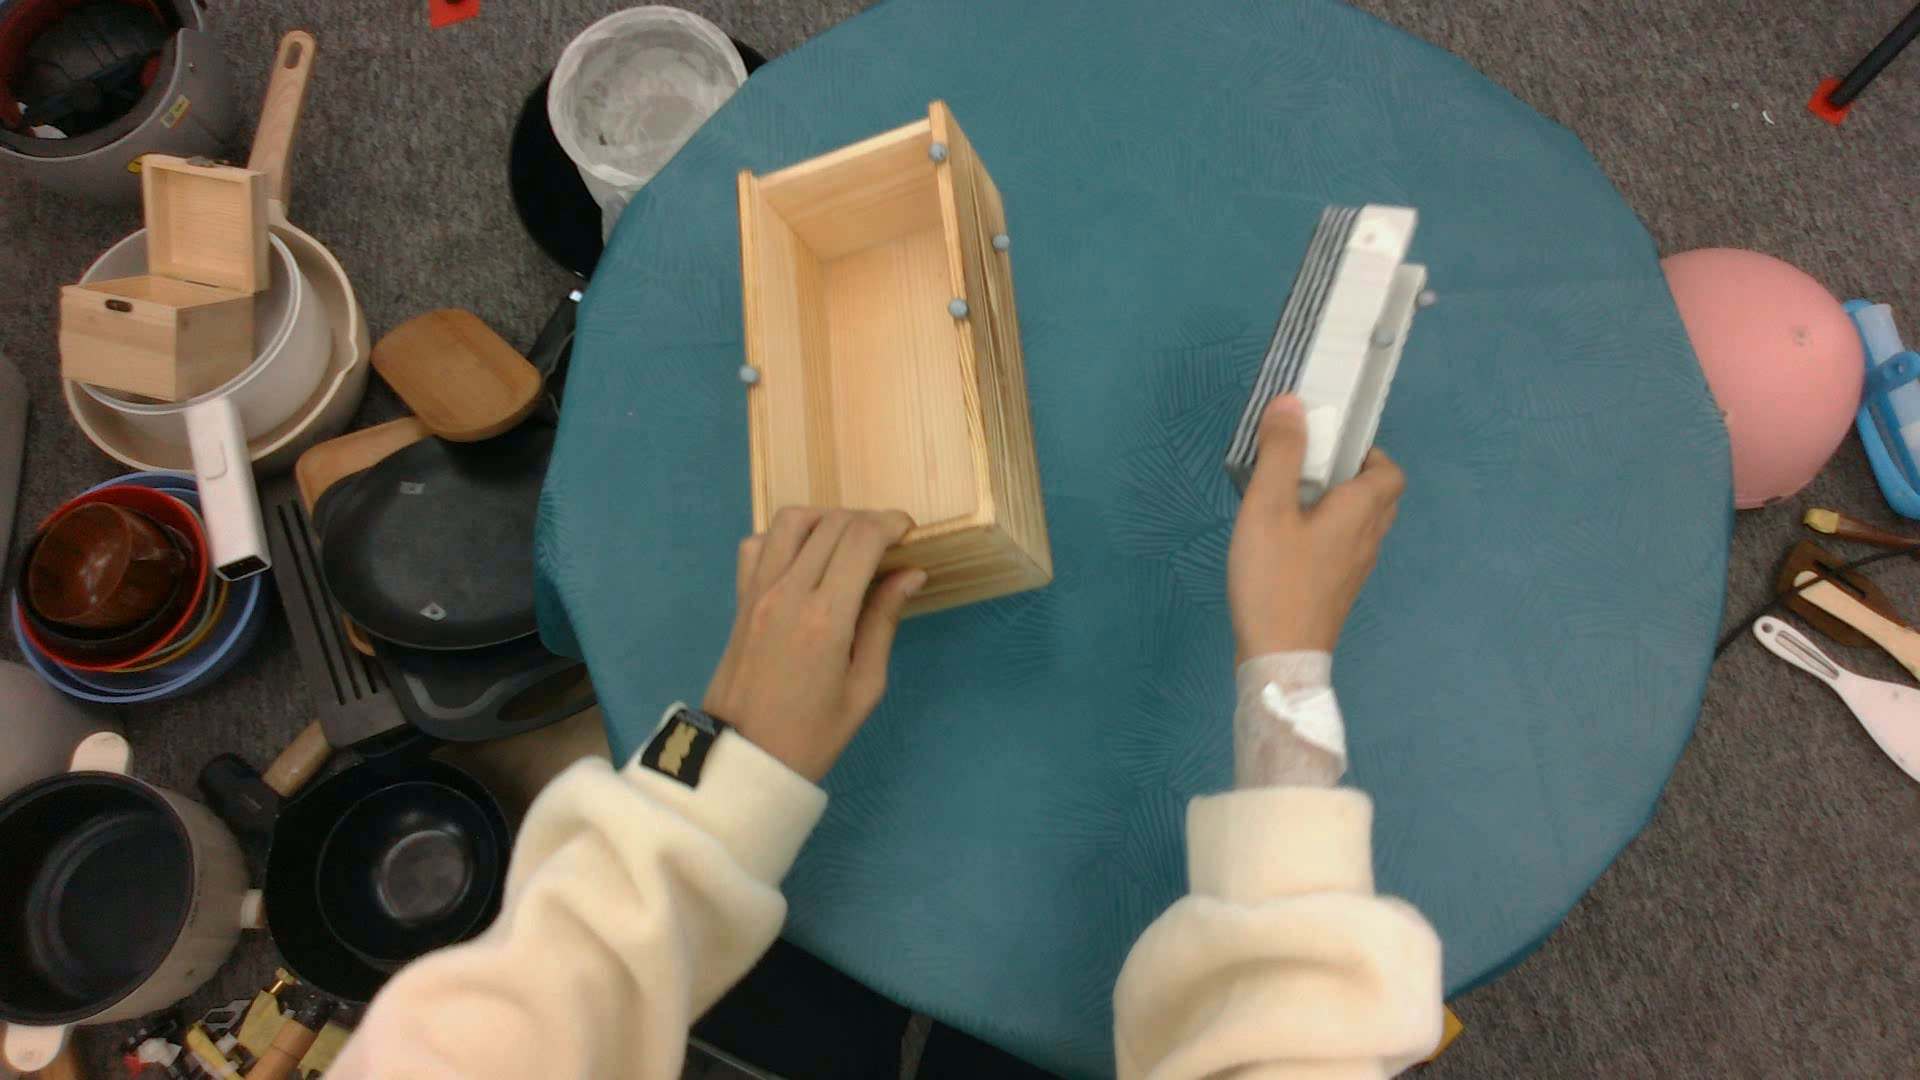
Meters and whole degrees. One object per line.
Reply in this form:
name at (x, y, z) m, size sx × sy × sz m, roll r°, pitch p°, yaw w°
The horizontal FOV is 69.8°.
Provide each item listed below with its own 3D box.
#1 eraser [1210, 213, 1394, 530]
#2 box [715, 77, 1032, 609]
eraser at (0.152, -0.076, 0.613) m, size 0.046 × 0.049 × 0.134 m, roll 7°, pitch 70°, yaw 32°
box at (-0.041, -0.088, 0.625) m, size 0.107 × 0.080 × 0.212 m, roll -14°, pitch 66°, yaw 14°
